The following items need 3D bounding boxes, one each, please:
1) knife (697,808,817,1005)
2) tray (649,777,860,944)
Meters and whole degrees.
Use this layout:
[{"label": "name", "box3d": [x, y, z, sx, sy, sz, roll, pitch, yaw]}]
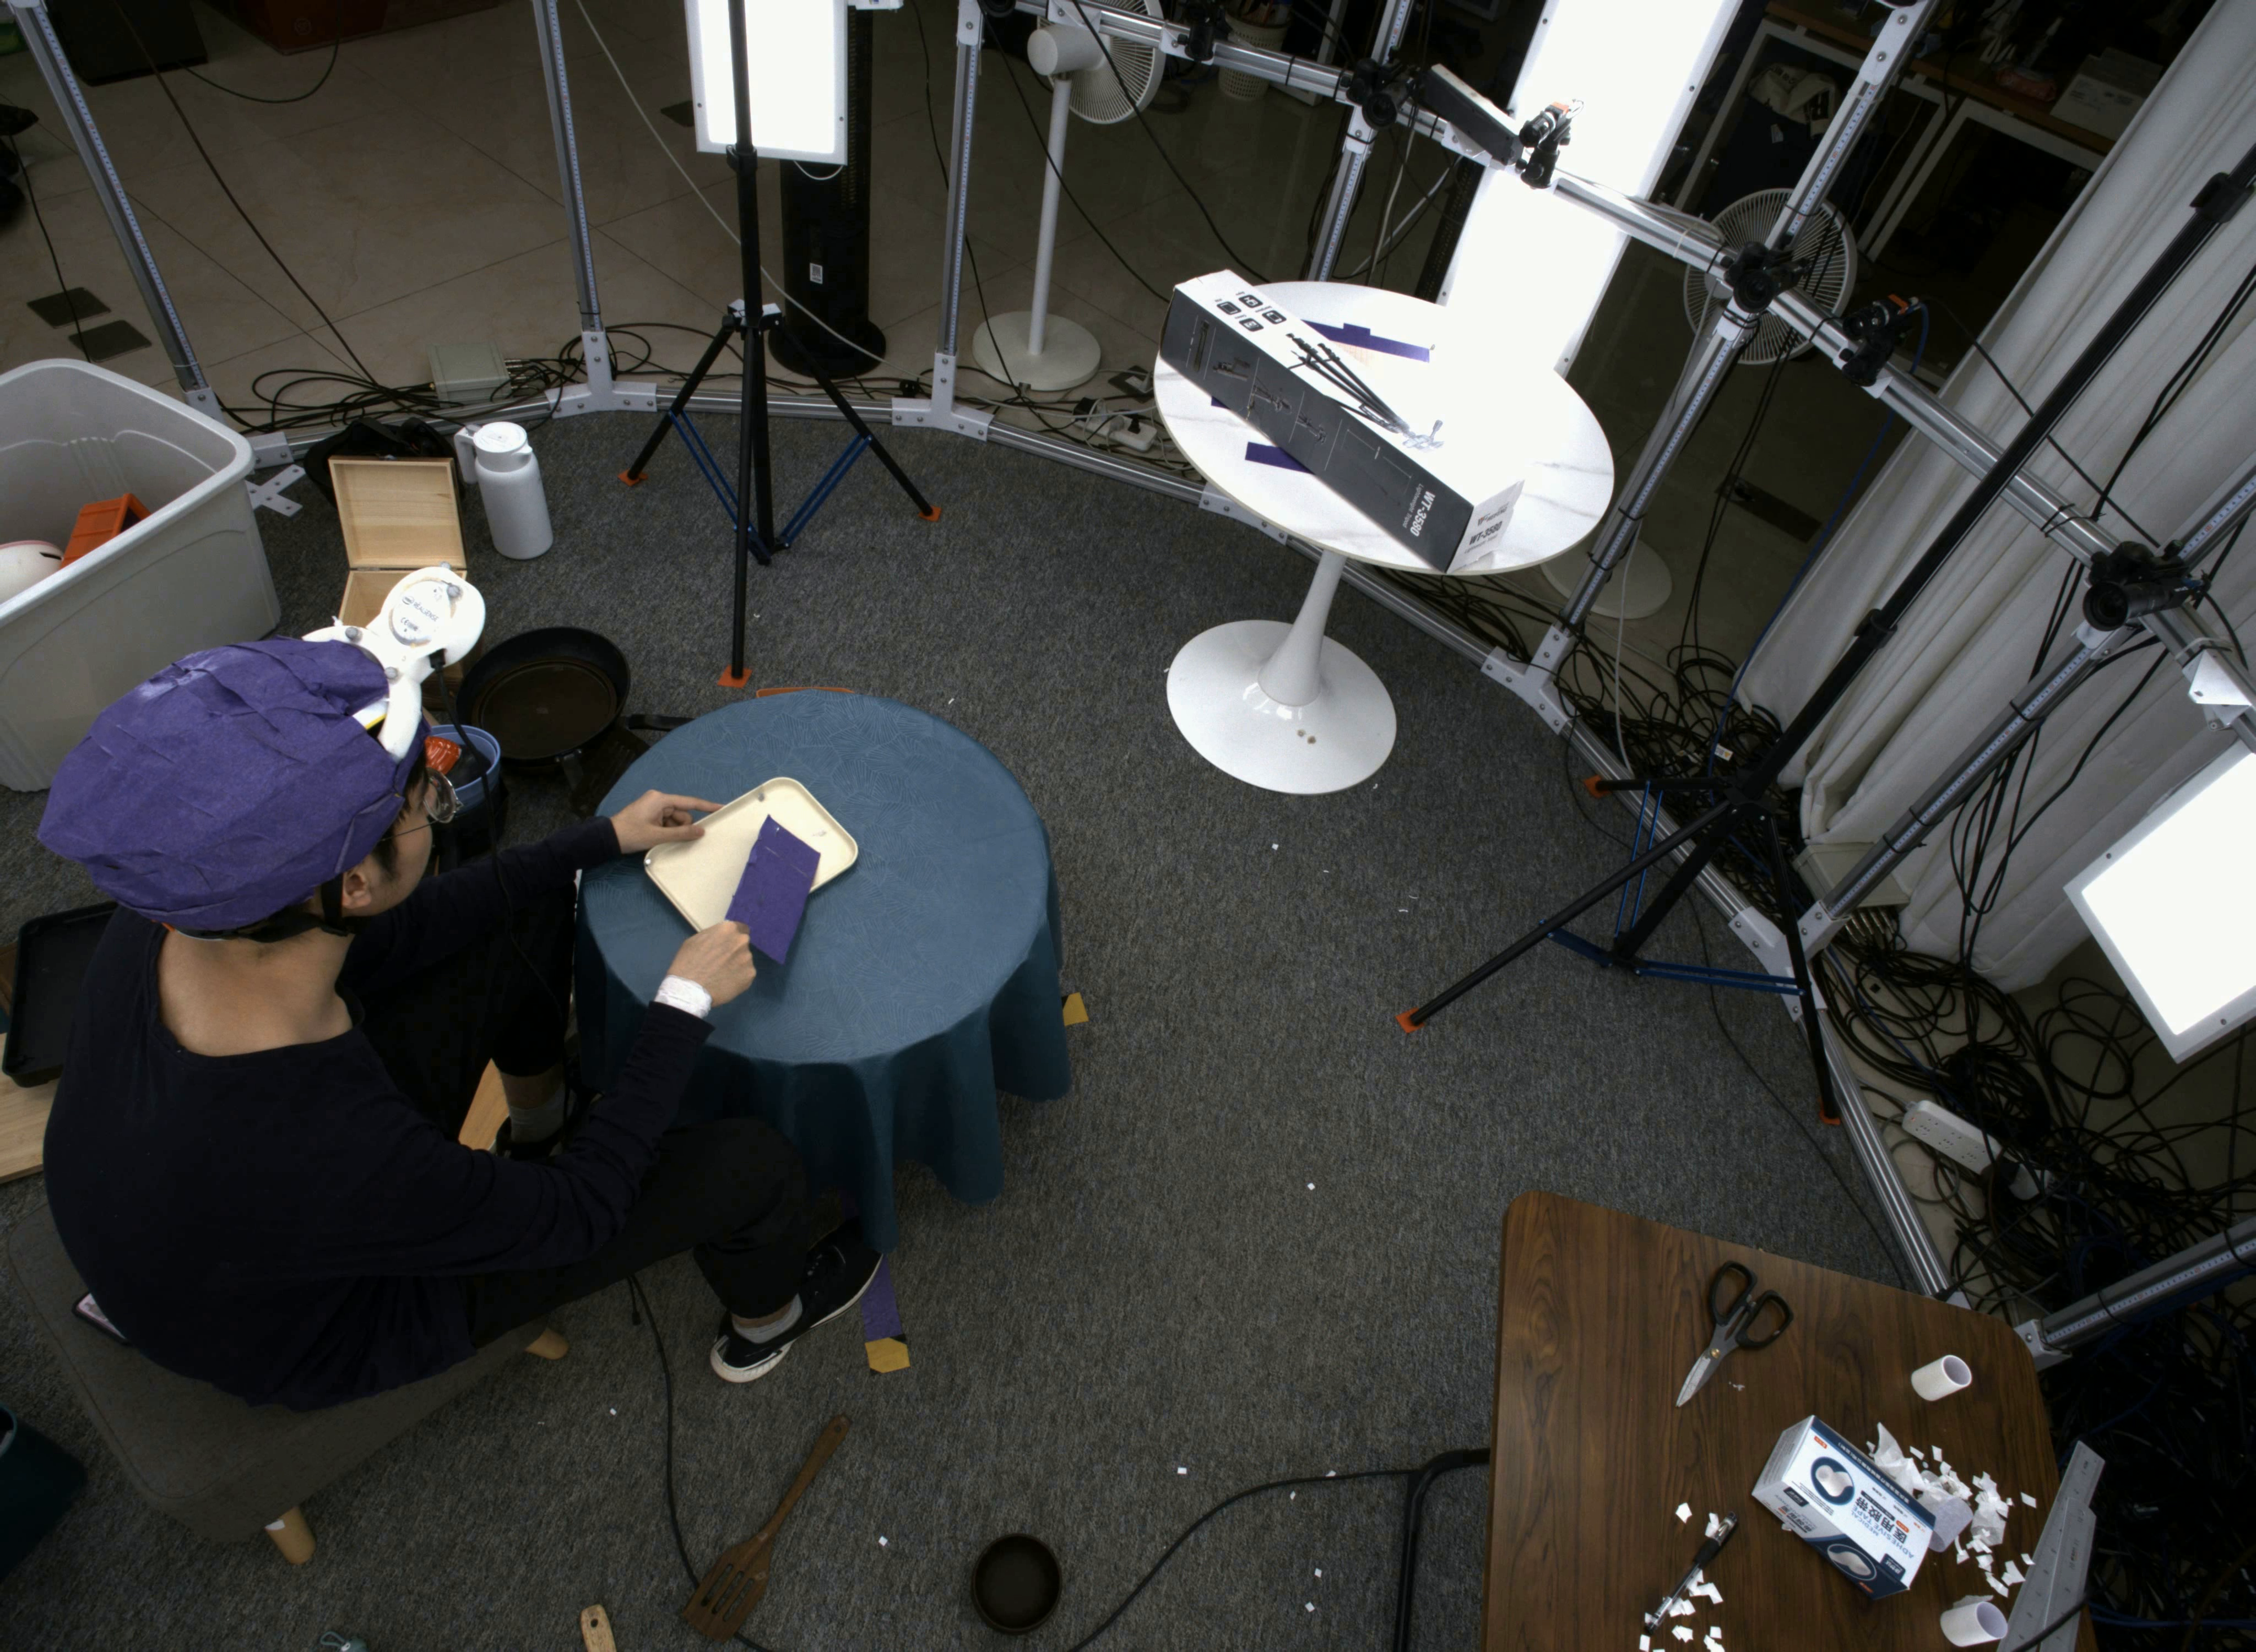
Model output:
[{"label": "knife", "box3d": [-0.438, 0.103, 1.567, 0.107, 0.032, 0.309, 40, 34, -27]}, {"label": "tray", "box3d": [-0.480, 0.042, 1.670, 0.168, 0.018, 0.240, 45, 55, 13]}]
